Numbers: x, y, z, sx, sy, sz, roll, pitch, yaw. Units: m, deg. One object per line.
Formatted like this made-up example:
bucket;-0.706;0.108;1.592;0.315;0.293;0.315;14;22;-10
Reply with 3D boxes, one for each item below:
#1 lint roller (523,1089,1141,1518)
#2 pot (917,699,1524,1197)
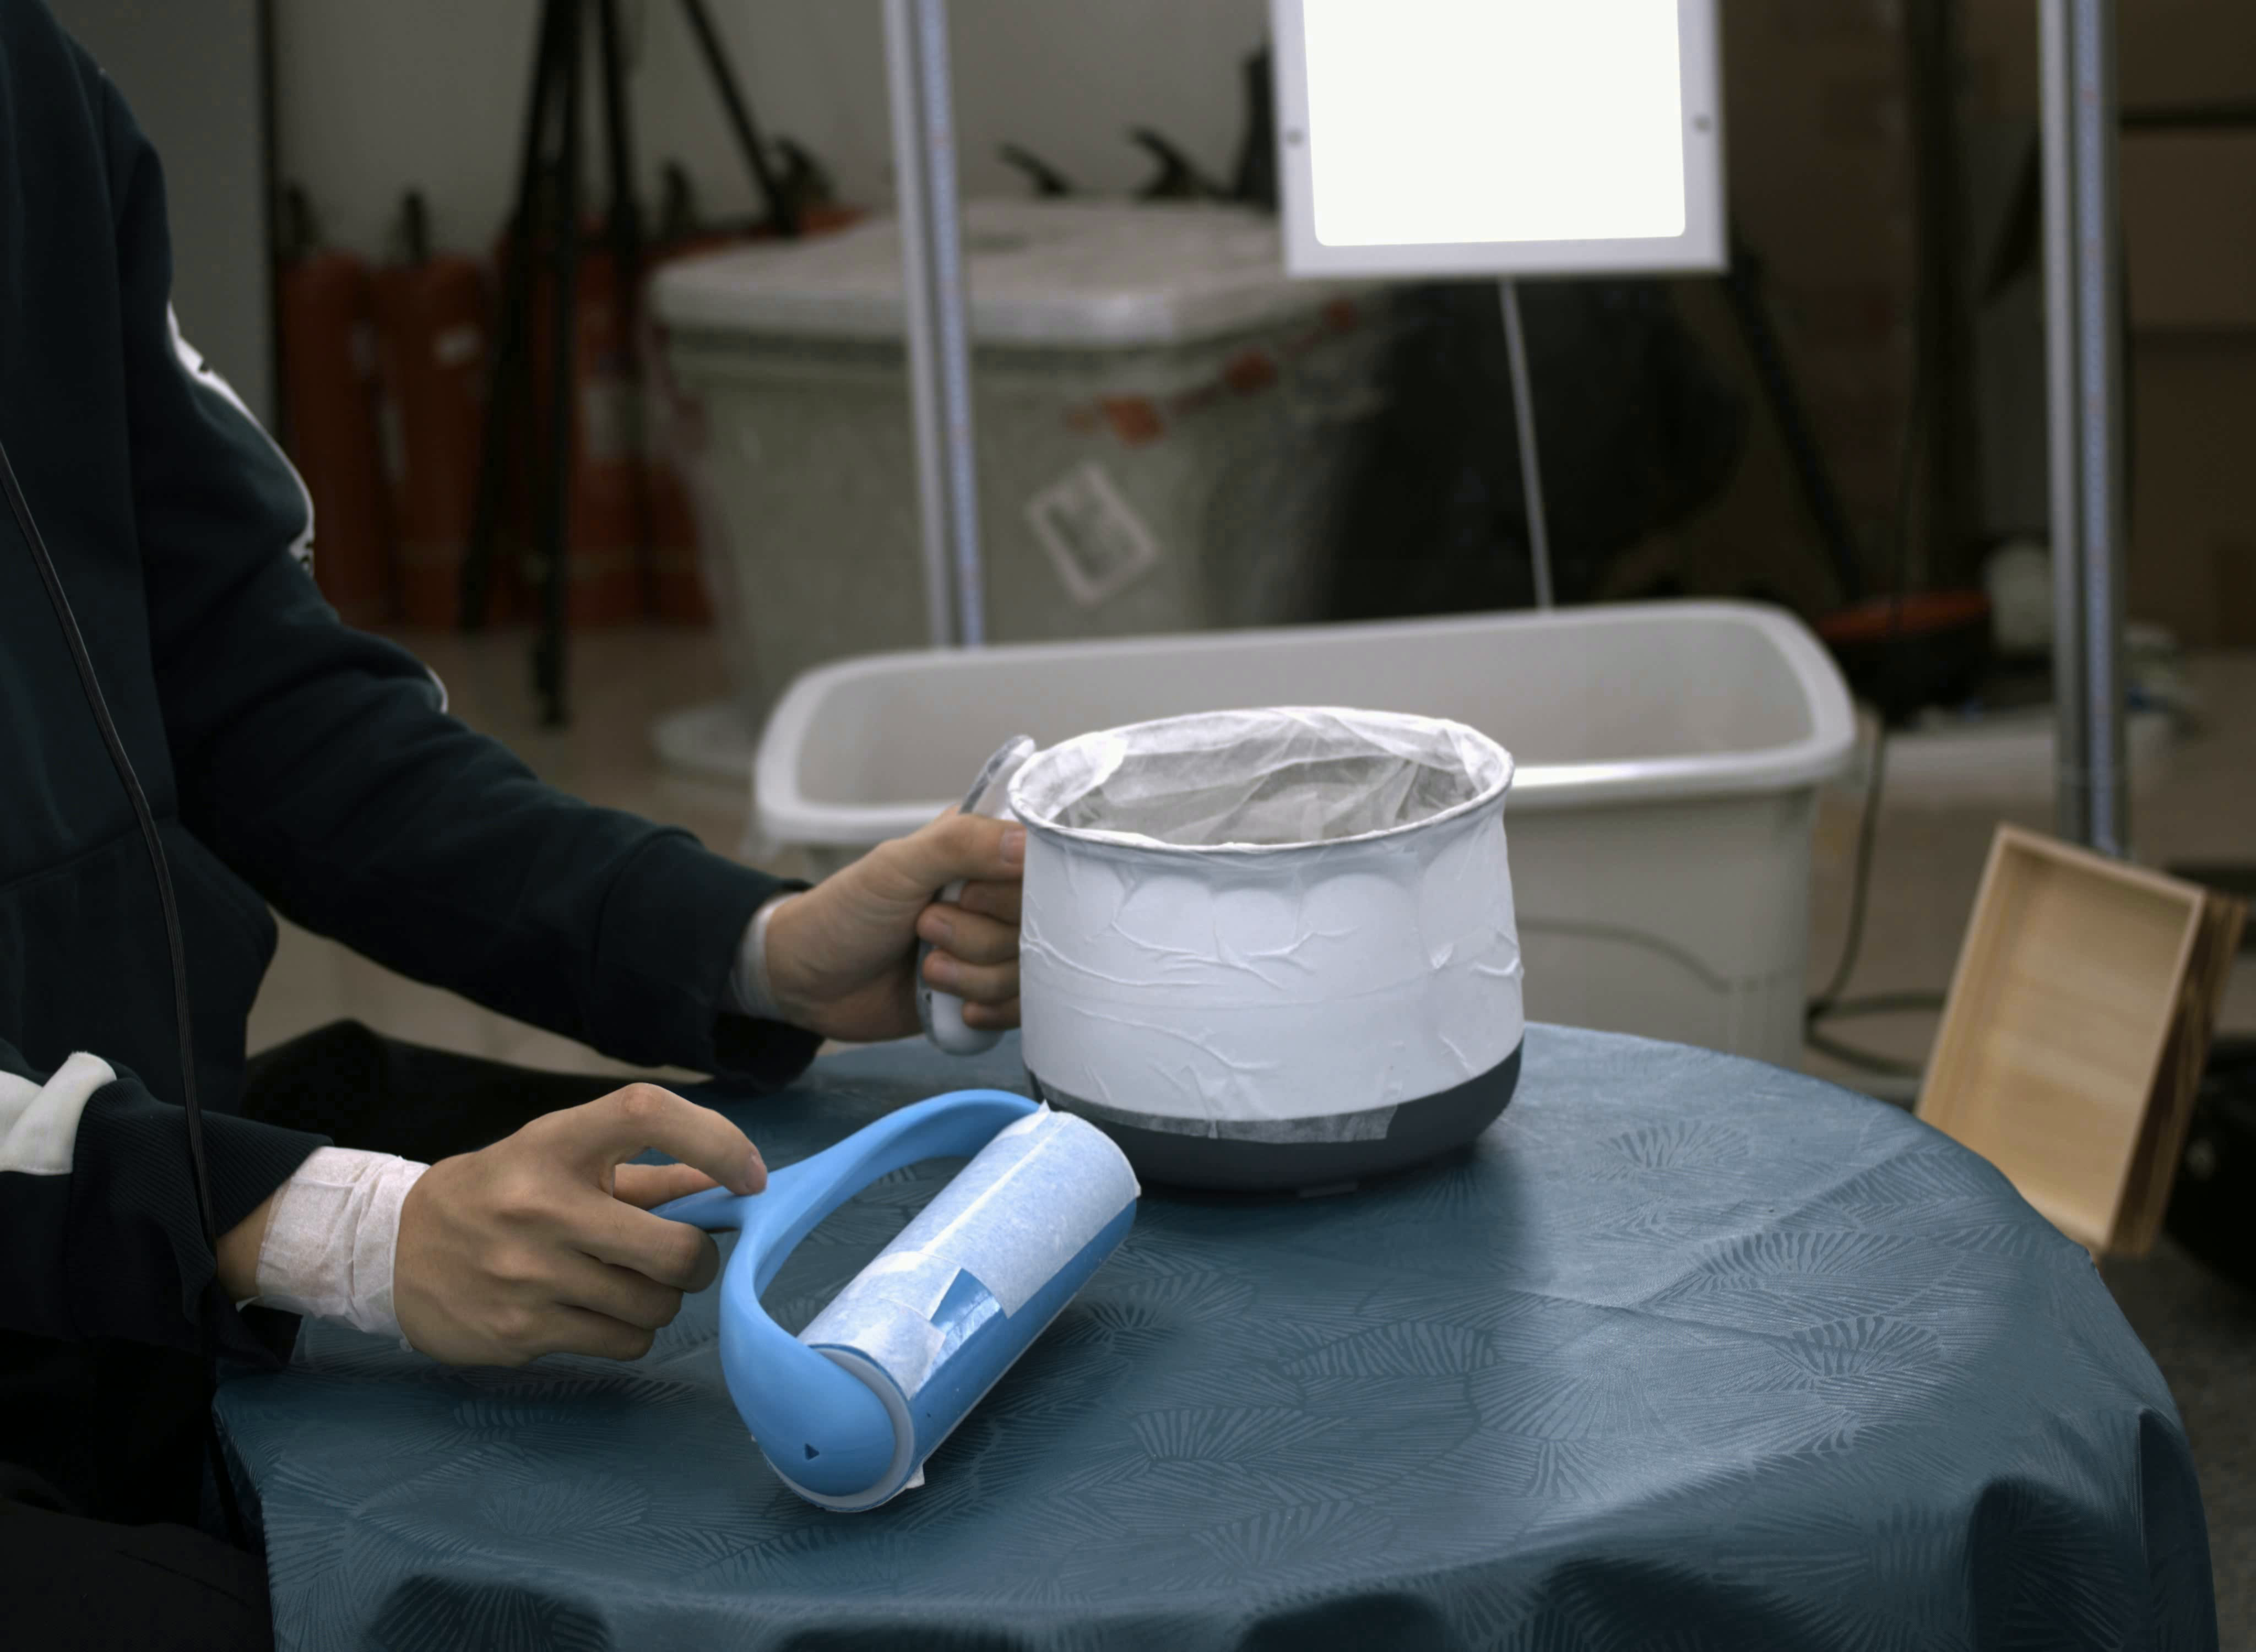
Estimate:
lint roller;-0.107;0.143;1.713;0.182;0.068;0.225;3;21;17
pot;0.026;0.038;1.932;0.238;0.137;0.174;8;20;32
